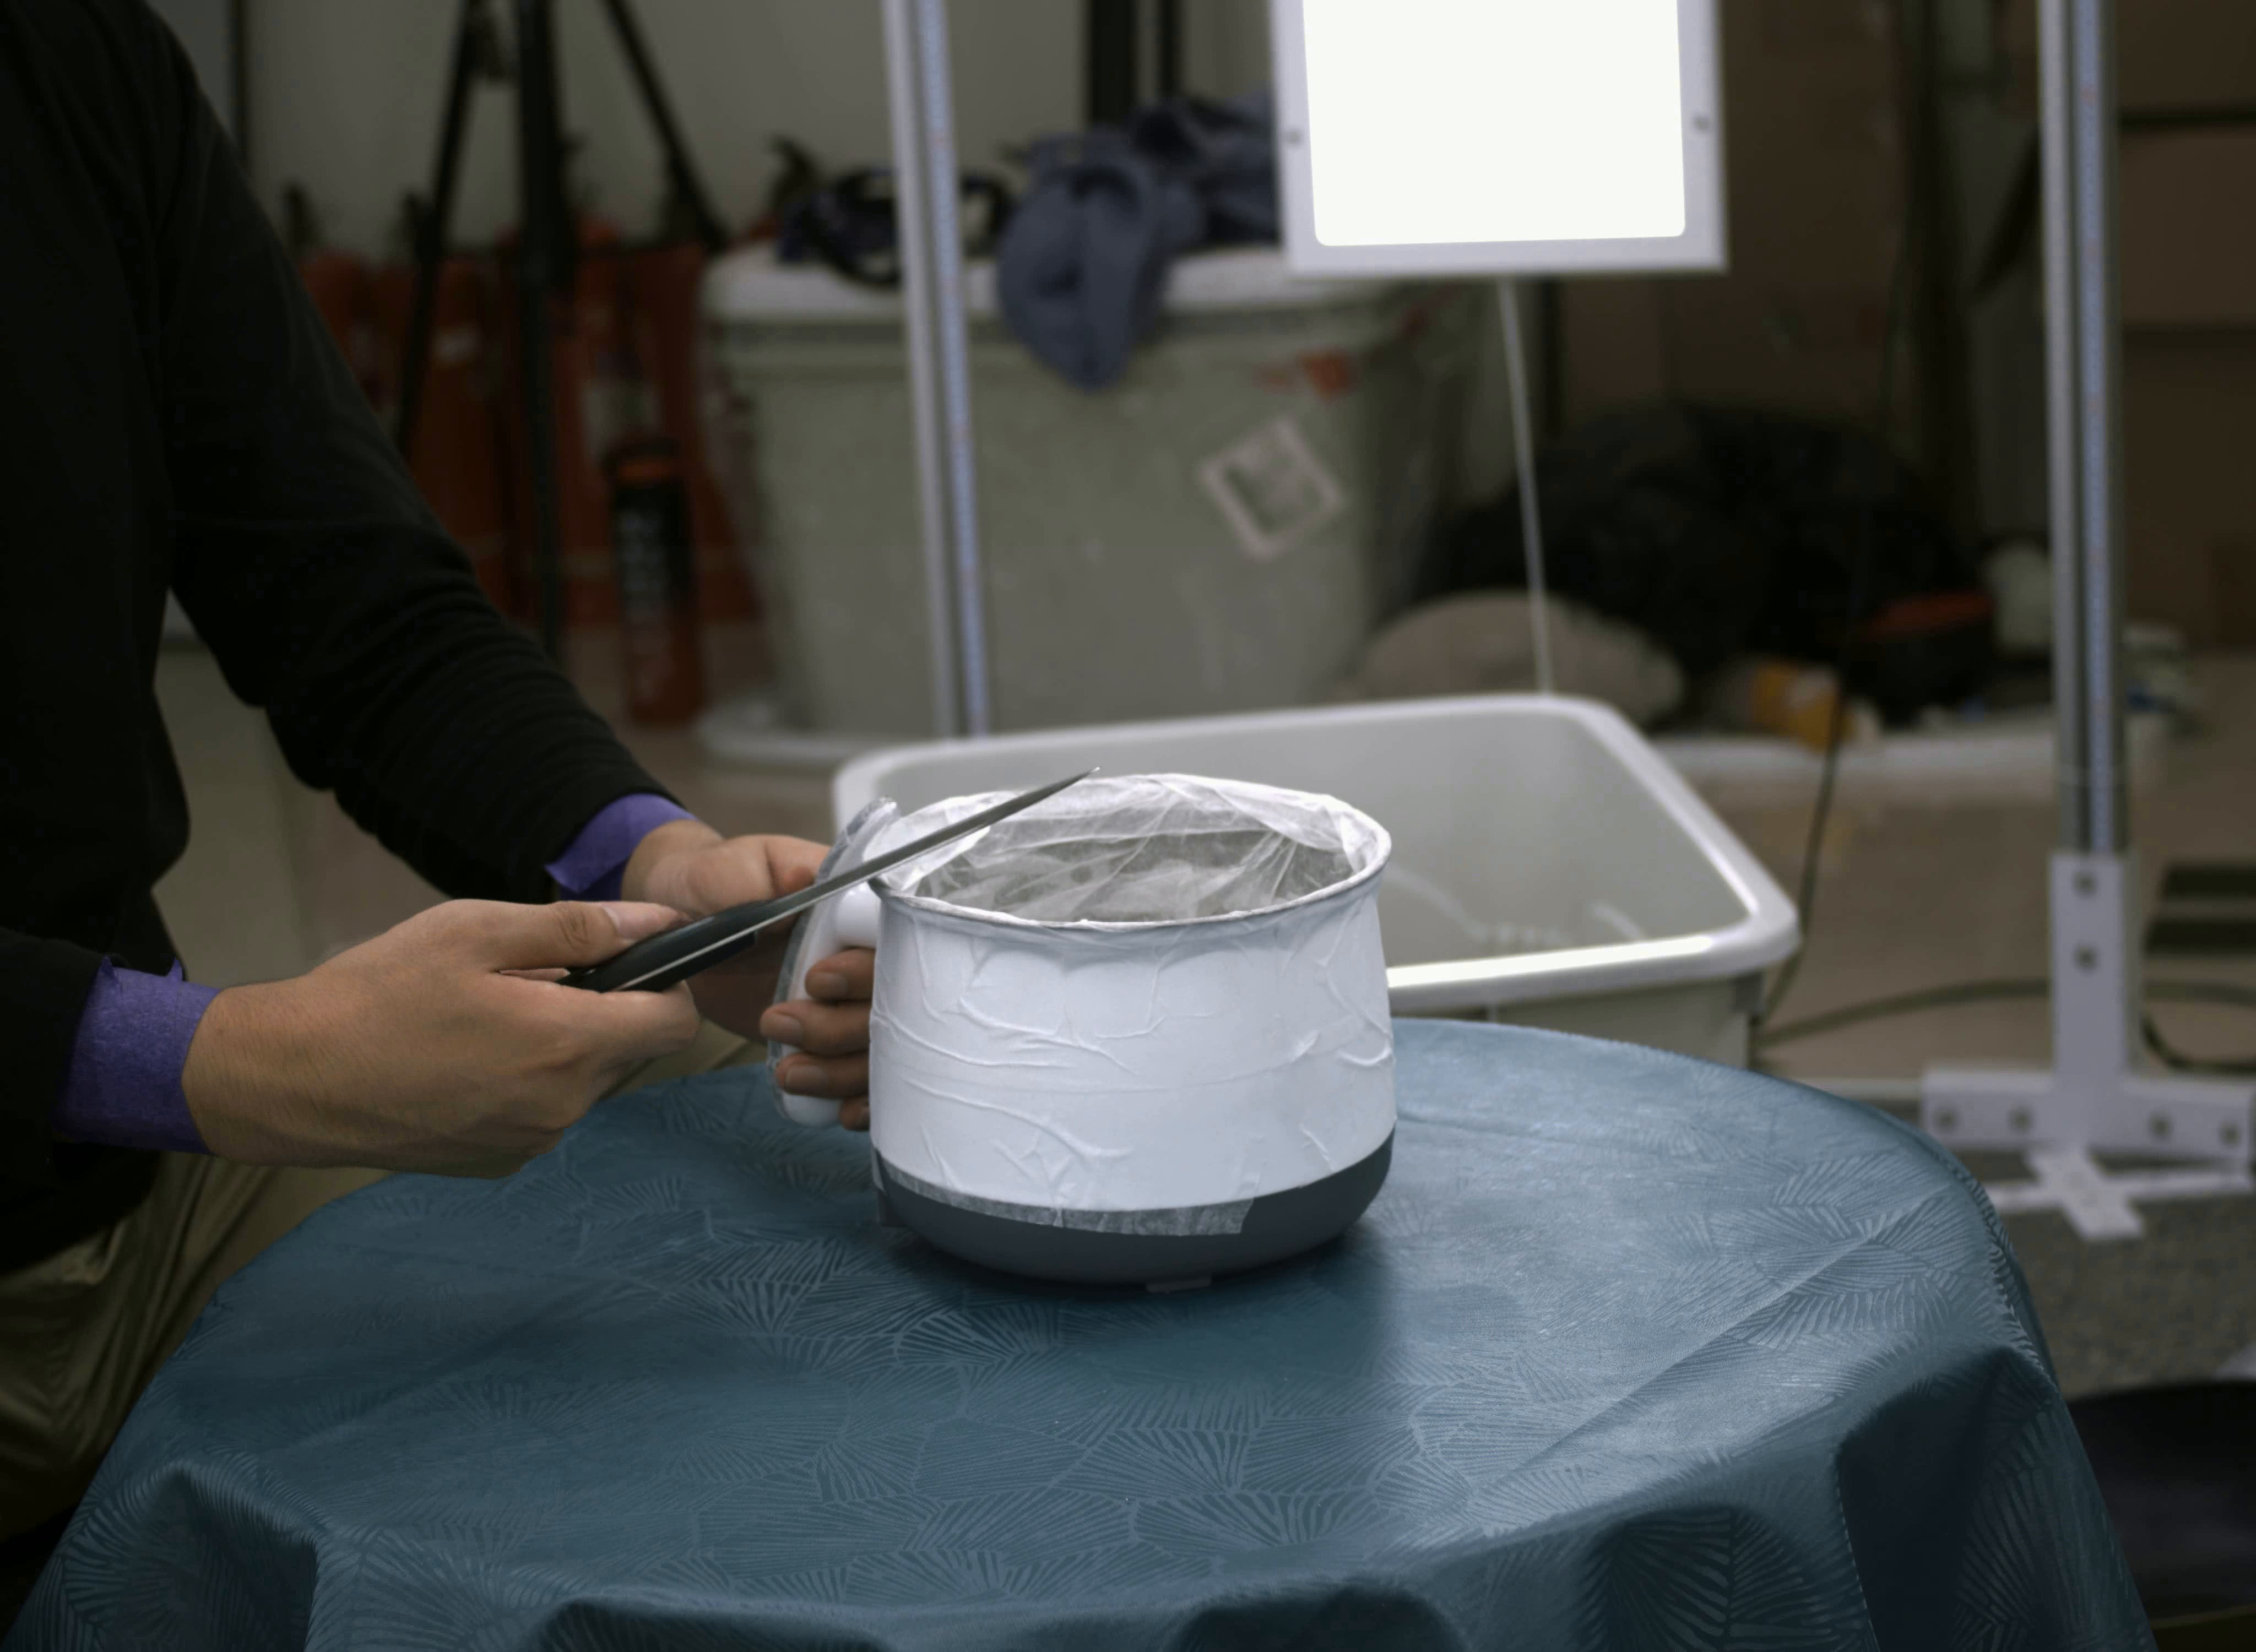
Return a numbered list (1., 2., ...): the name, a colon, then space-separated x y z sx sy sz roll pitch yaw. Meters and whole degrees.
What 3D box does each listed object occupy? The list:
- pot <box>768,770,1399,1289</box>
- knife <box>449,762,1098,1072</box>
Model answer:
1. pot: -0.022 0.062 1.852 0.238 0.137 0.174 9 18 32
2. knife: -0.117 0.029 1.796 0.240 0.016 0.024 -24 12 12
